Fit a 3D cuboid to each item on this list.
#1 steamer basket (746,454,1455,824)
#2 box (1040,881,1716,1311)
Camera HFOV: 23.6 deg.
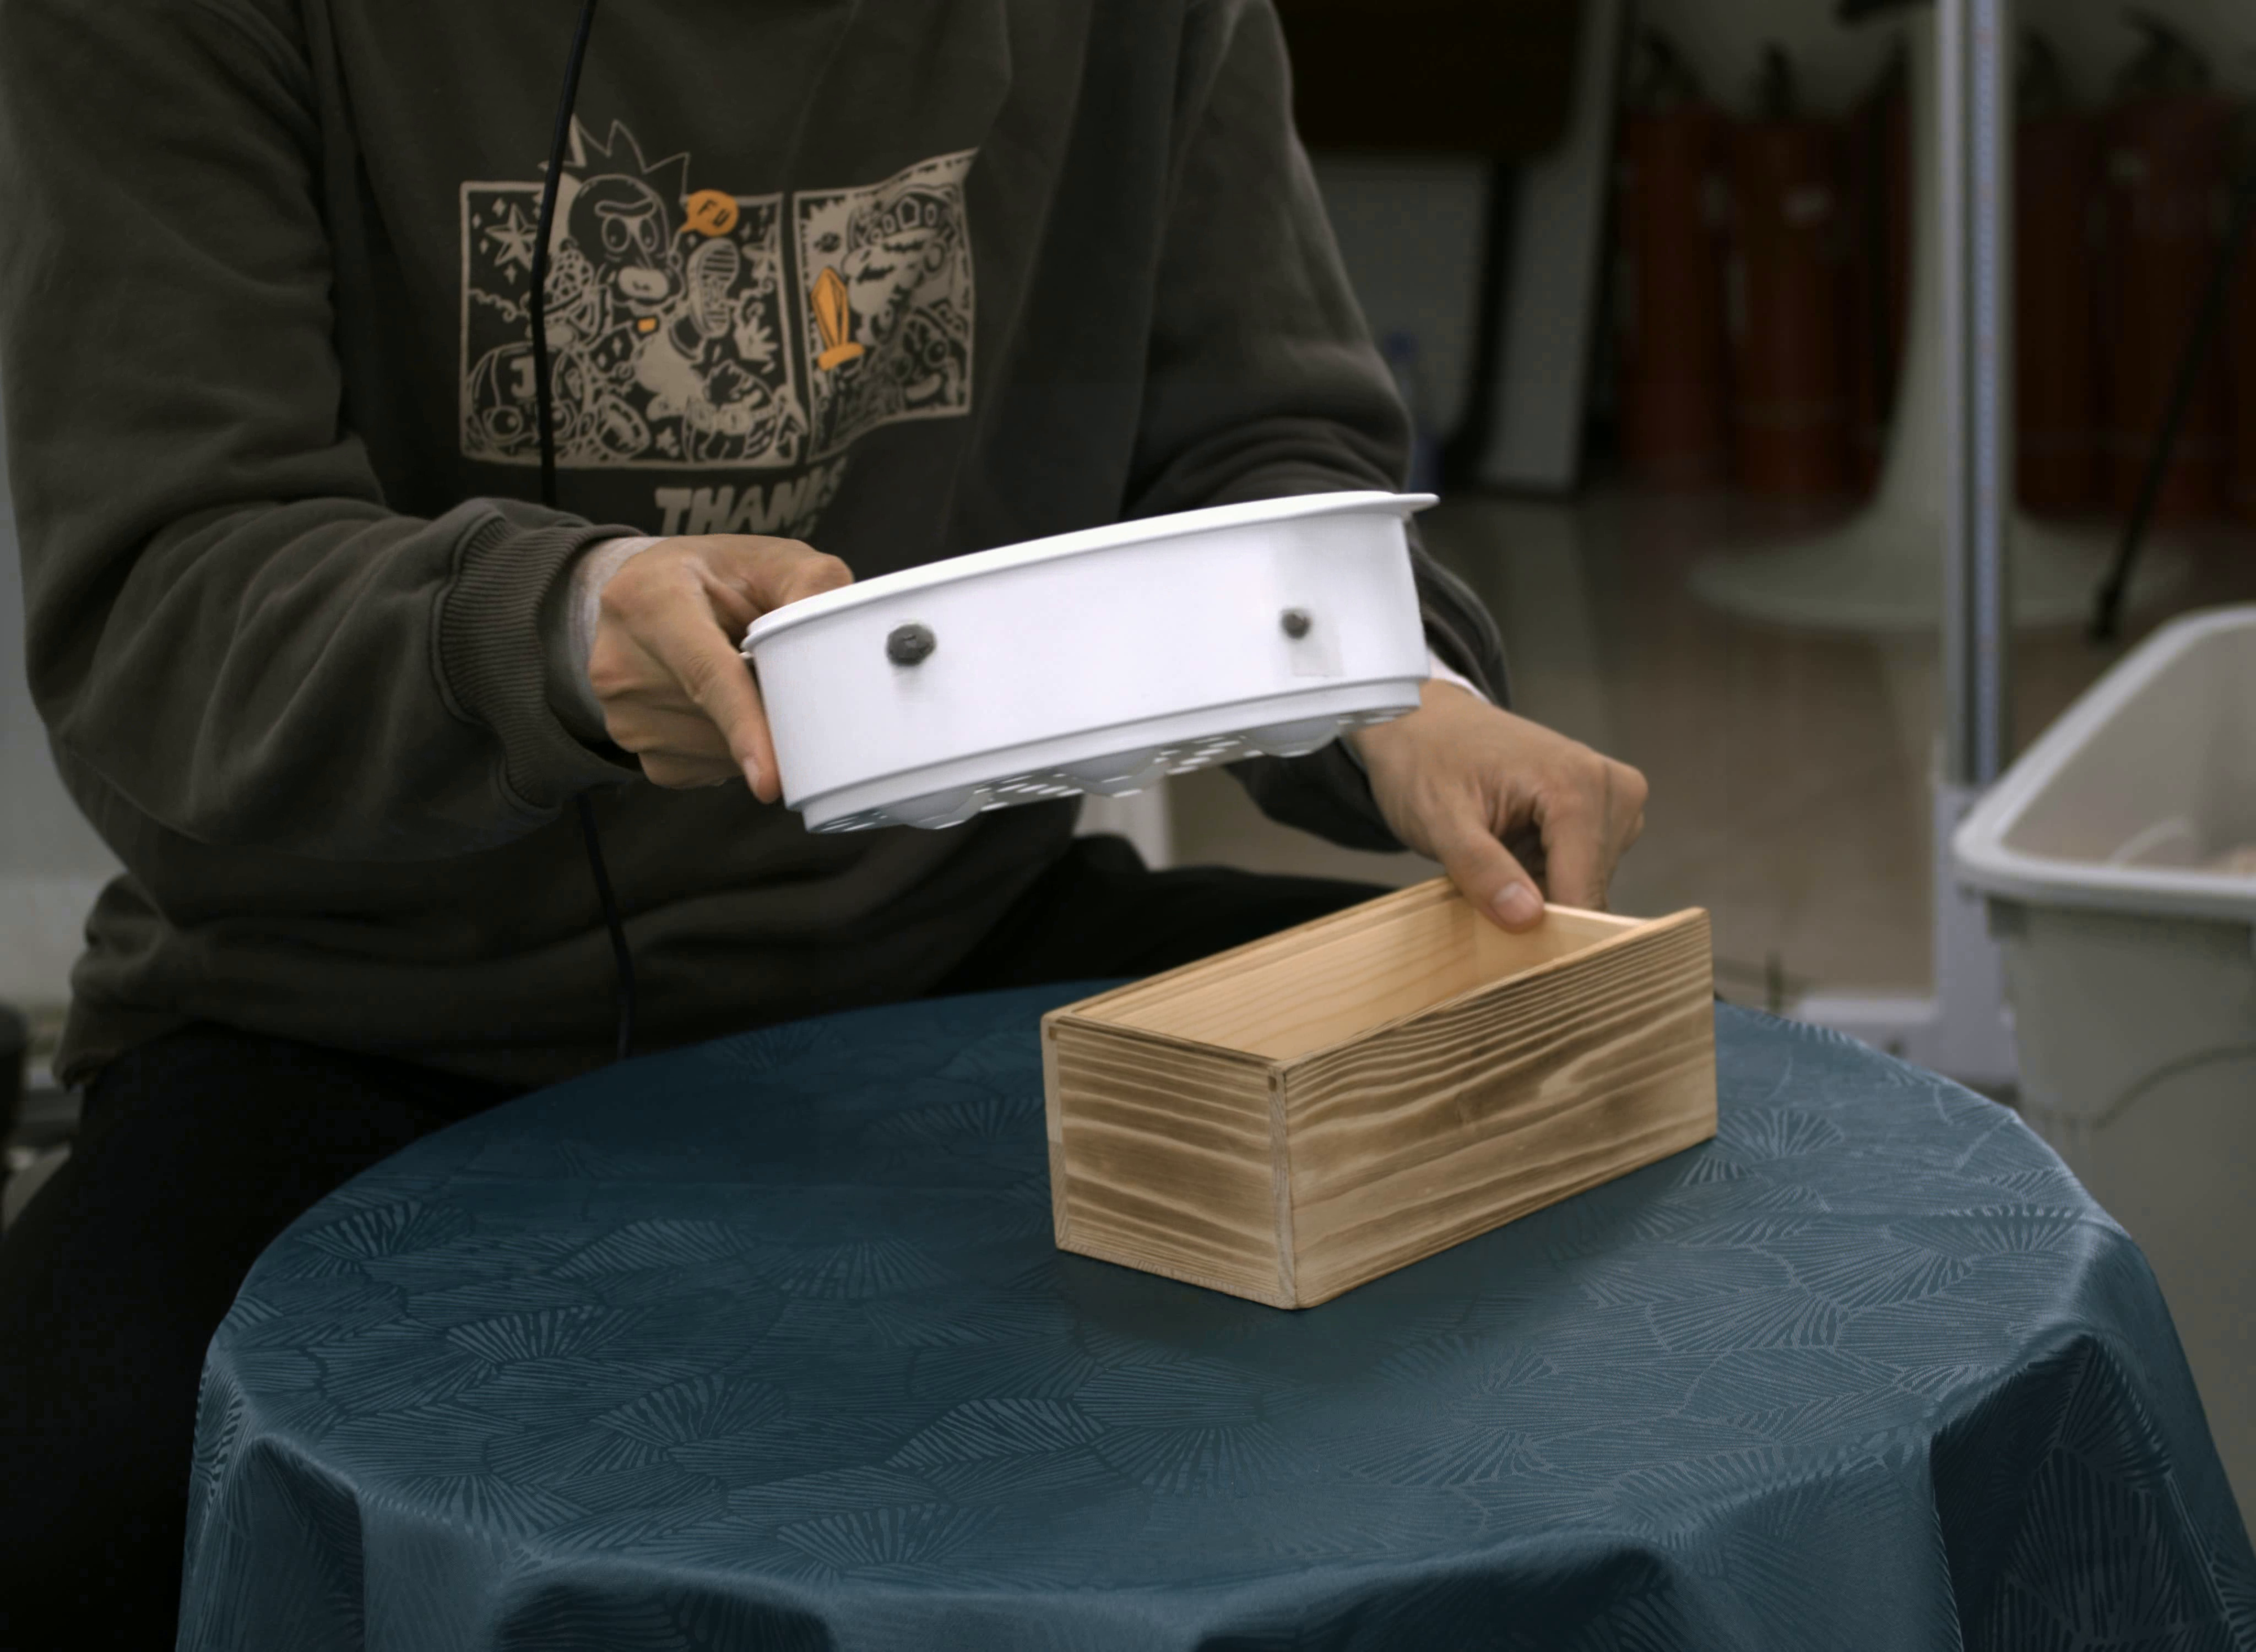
[{"bbox_3d":[-0.005,-0.050,1.569,0.232,0.070,0.198,-15,-7,33],"label":"steamer basket"},{"bbox_3d":[0.084,0.083,1.739,0.108,0.081,0.207,8,18,44],"label":"box"}]
